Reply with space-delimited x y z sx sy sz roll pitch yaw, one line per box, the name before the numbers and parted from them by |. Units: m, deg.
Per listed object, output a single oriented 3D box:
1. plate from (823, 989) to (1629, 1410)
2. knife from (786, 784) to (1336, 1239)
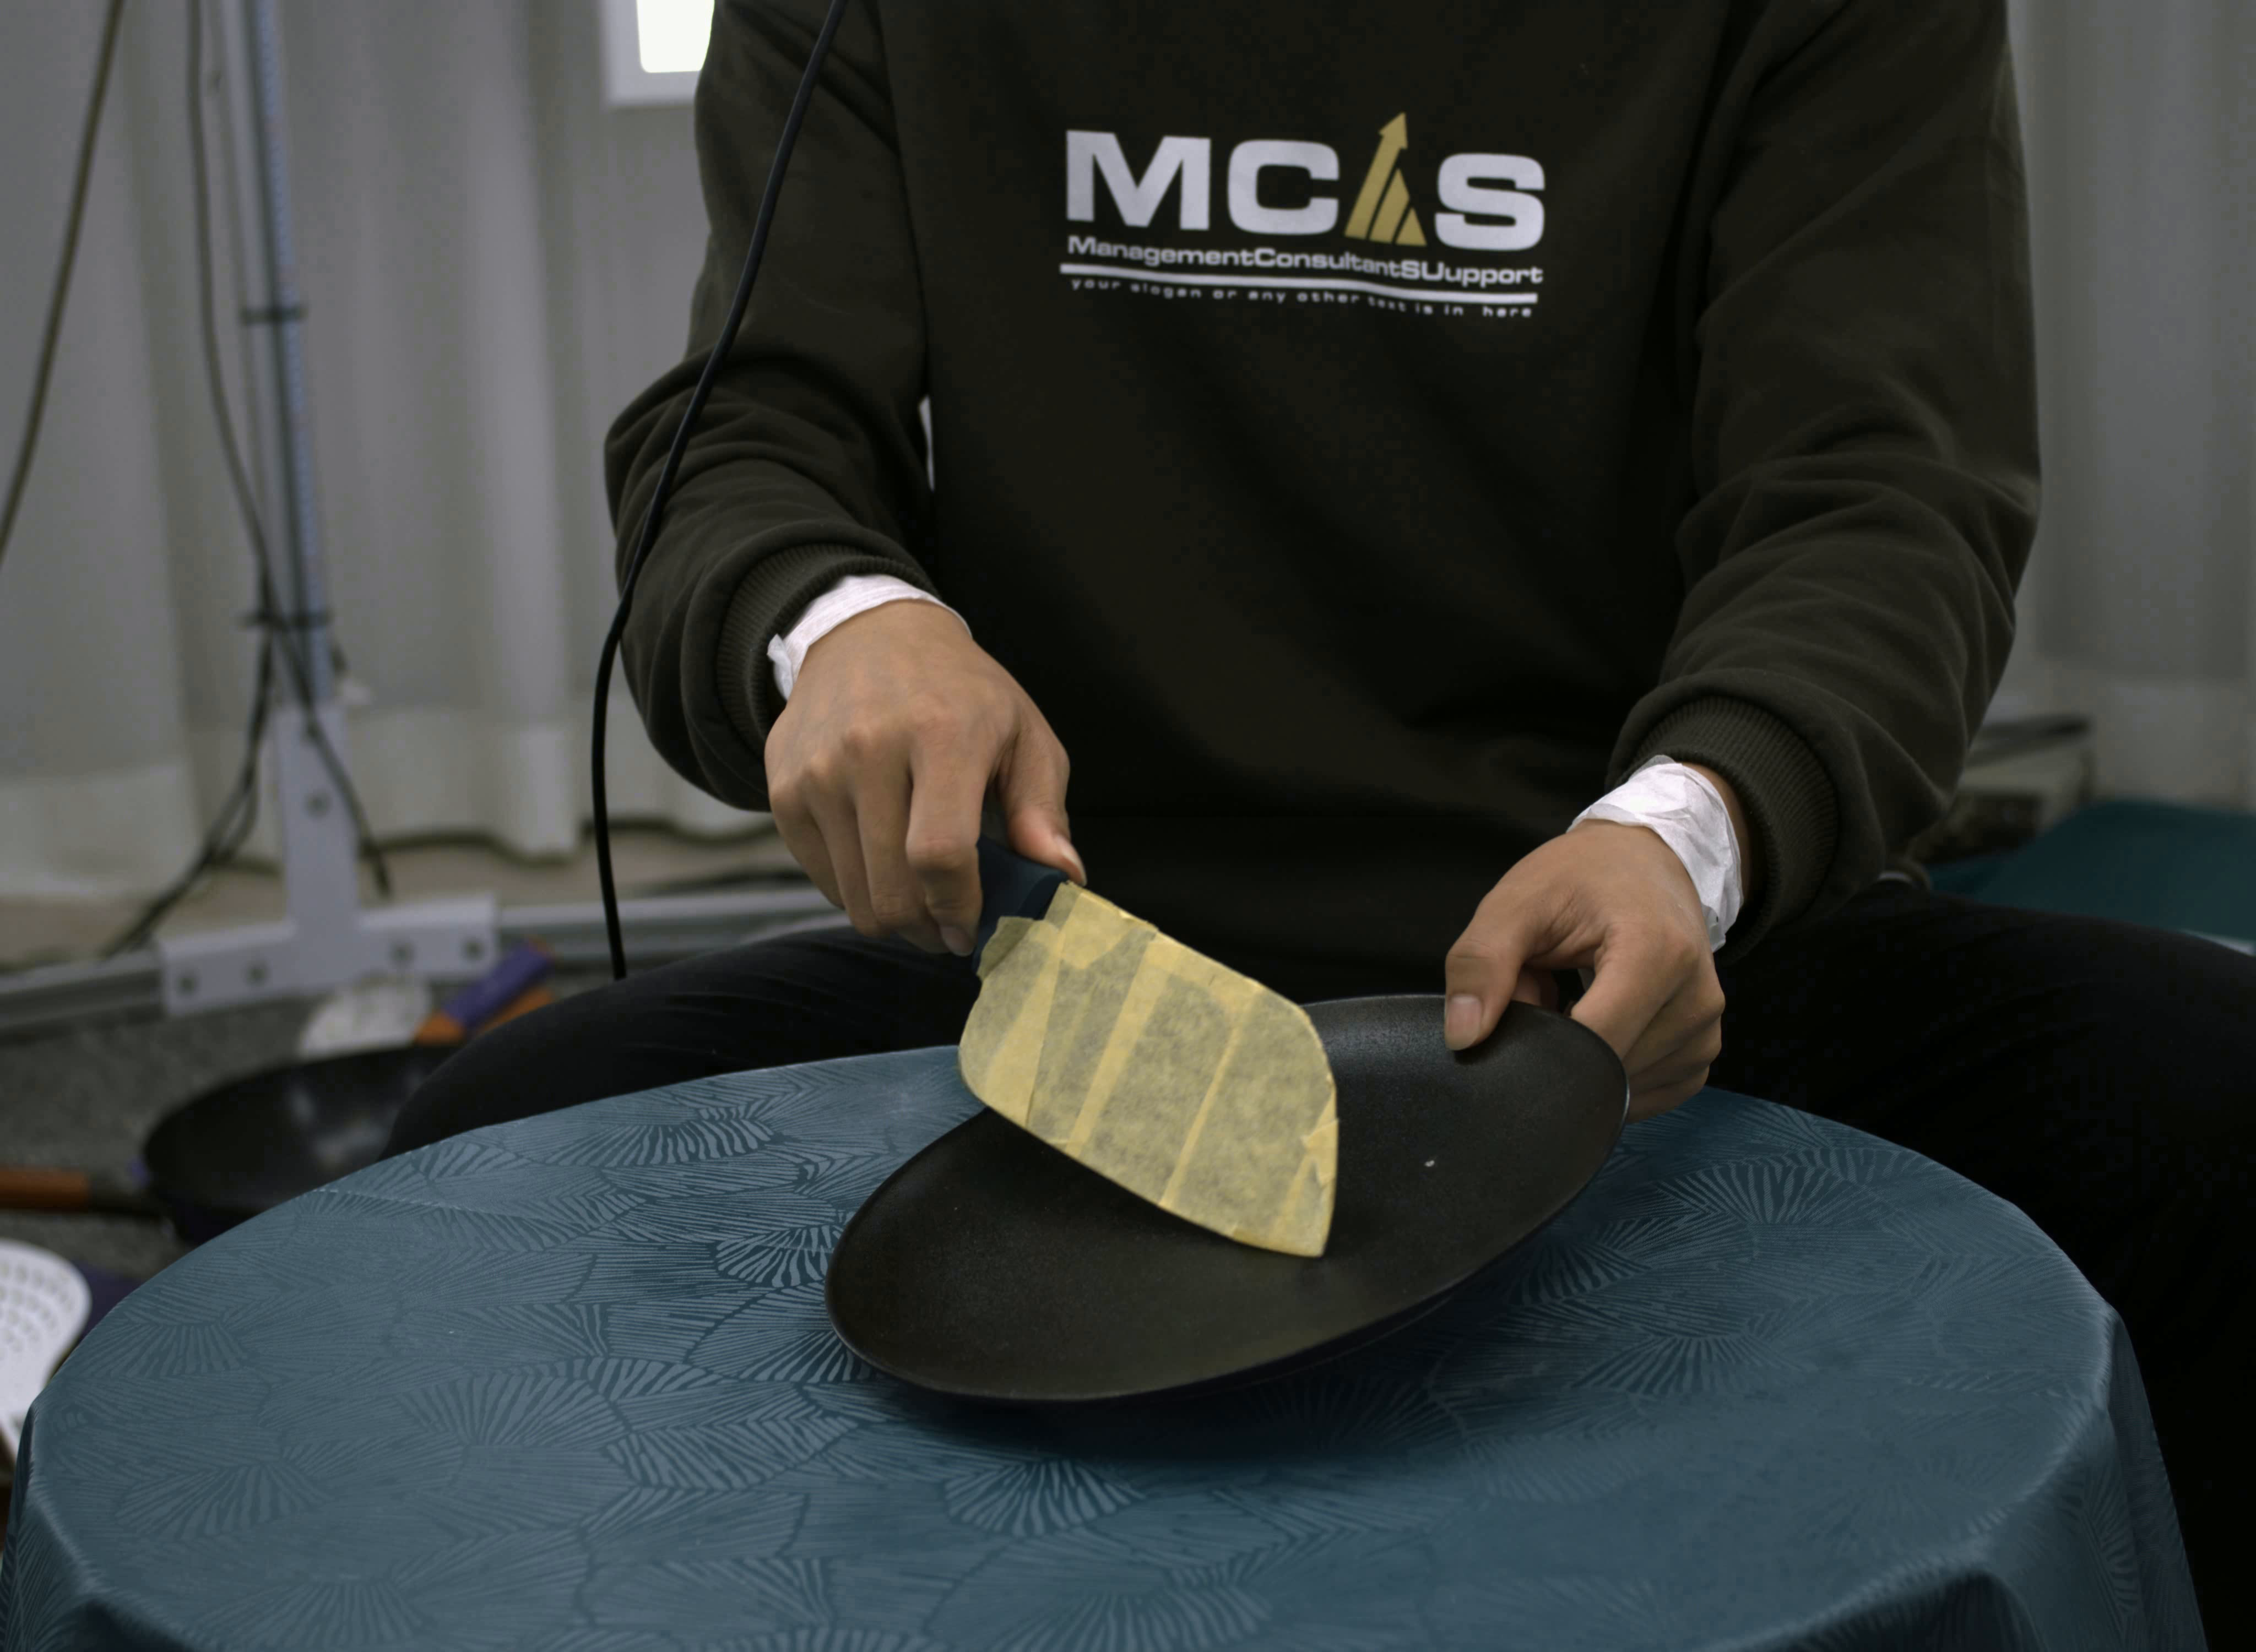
plate | 0.030 0.113 1.591 0.244 0.023 0.247 -15 20 5
knife | -0.026 0.052 1.660 0.027 0.081 0.292 24 5 -41
